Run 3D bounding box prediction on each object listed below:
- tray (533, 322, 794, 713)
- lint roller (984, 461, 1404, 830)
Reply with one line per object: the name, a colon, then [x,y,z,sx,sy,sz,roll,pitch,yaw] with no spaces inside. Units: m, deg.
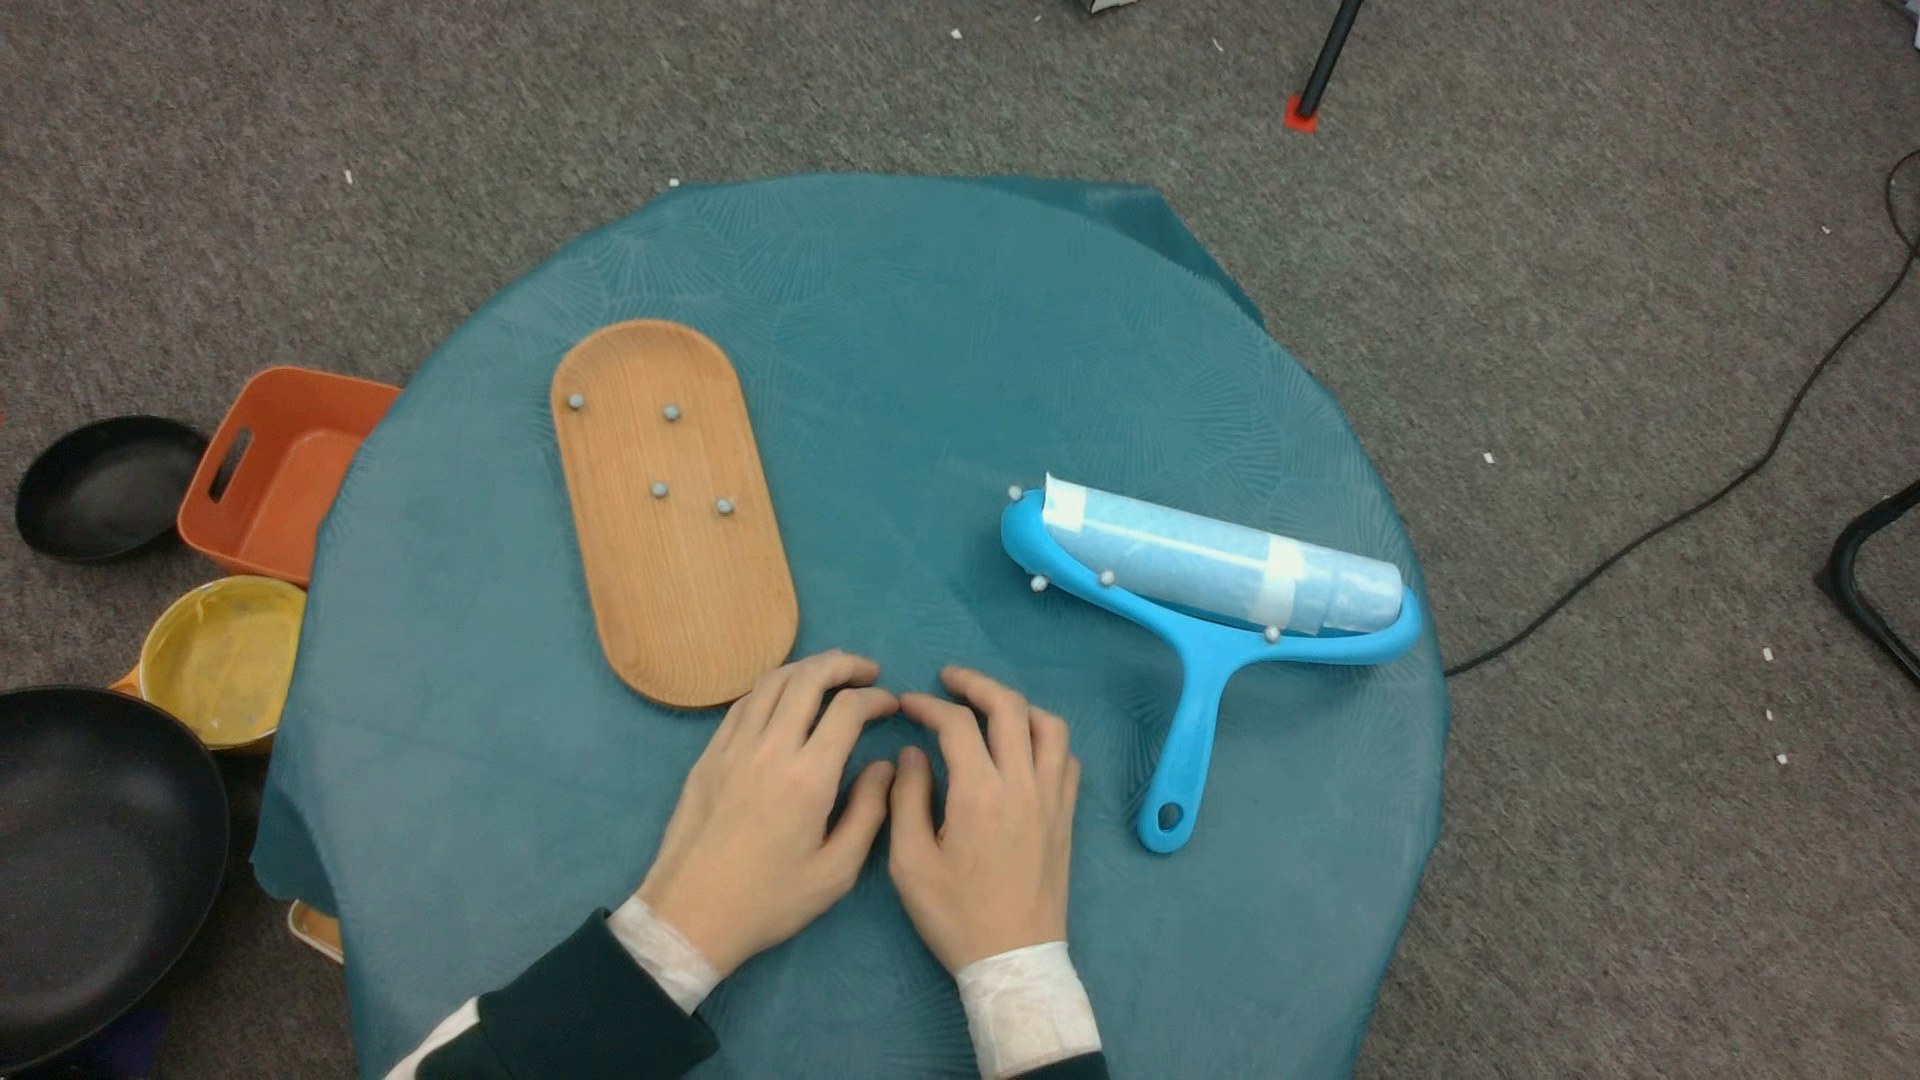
tray: [-0.158,-0.017,0.728,0.102,0.020,0.231,-15,69,-14]
lint roller: [0.118,0.055,0.711,0.229,0.067,0.181,11,62,-5]
